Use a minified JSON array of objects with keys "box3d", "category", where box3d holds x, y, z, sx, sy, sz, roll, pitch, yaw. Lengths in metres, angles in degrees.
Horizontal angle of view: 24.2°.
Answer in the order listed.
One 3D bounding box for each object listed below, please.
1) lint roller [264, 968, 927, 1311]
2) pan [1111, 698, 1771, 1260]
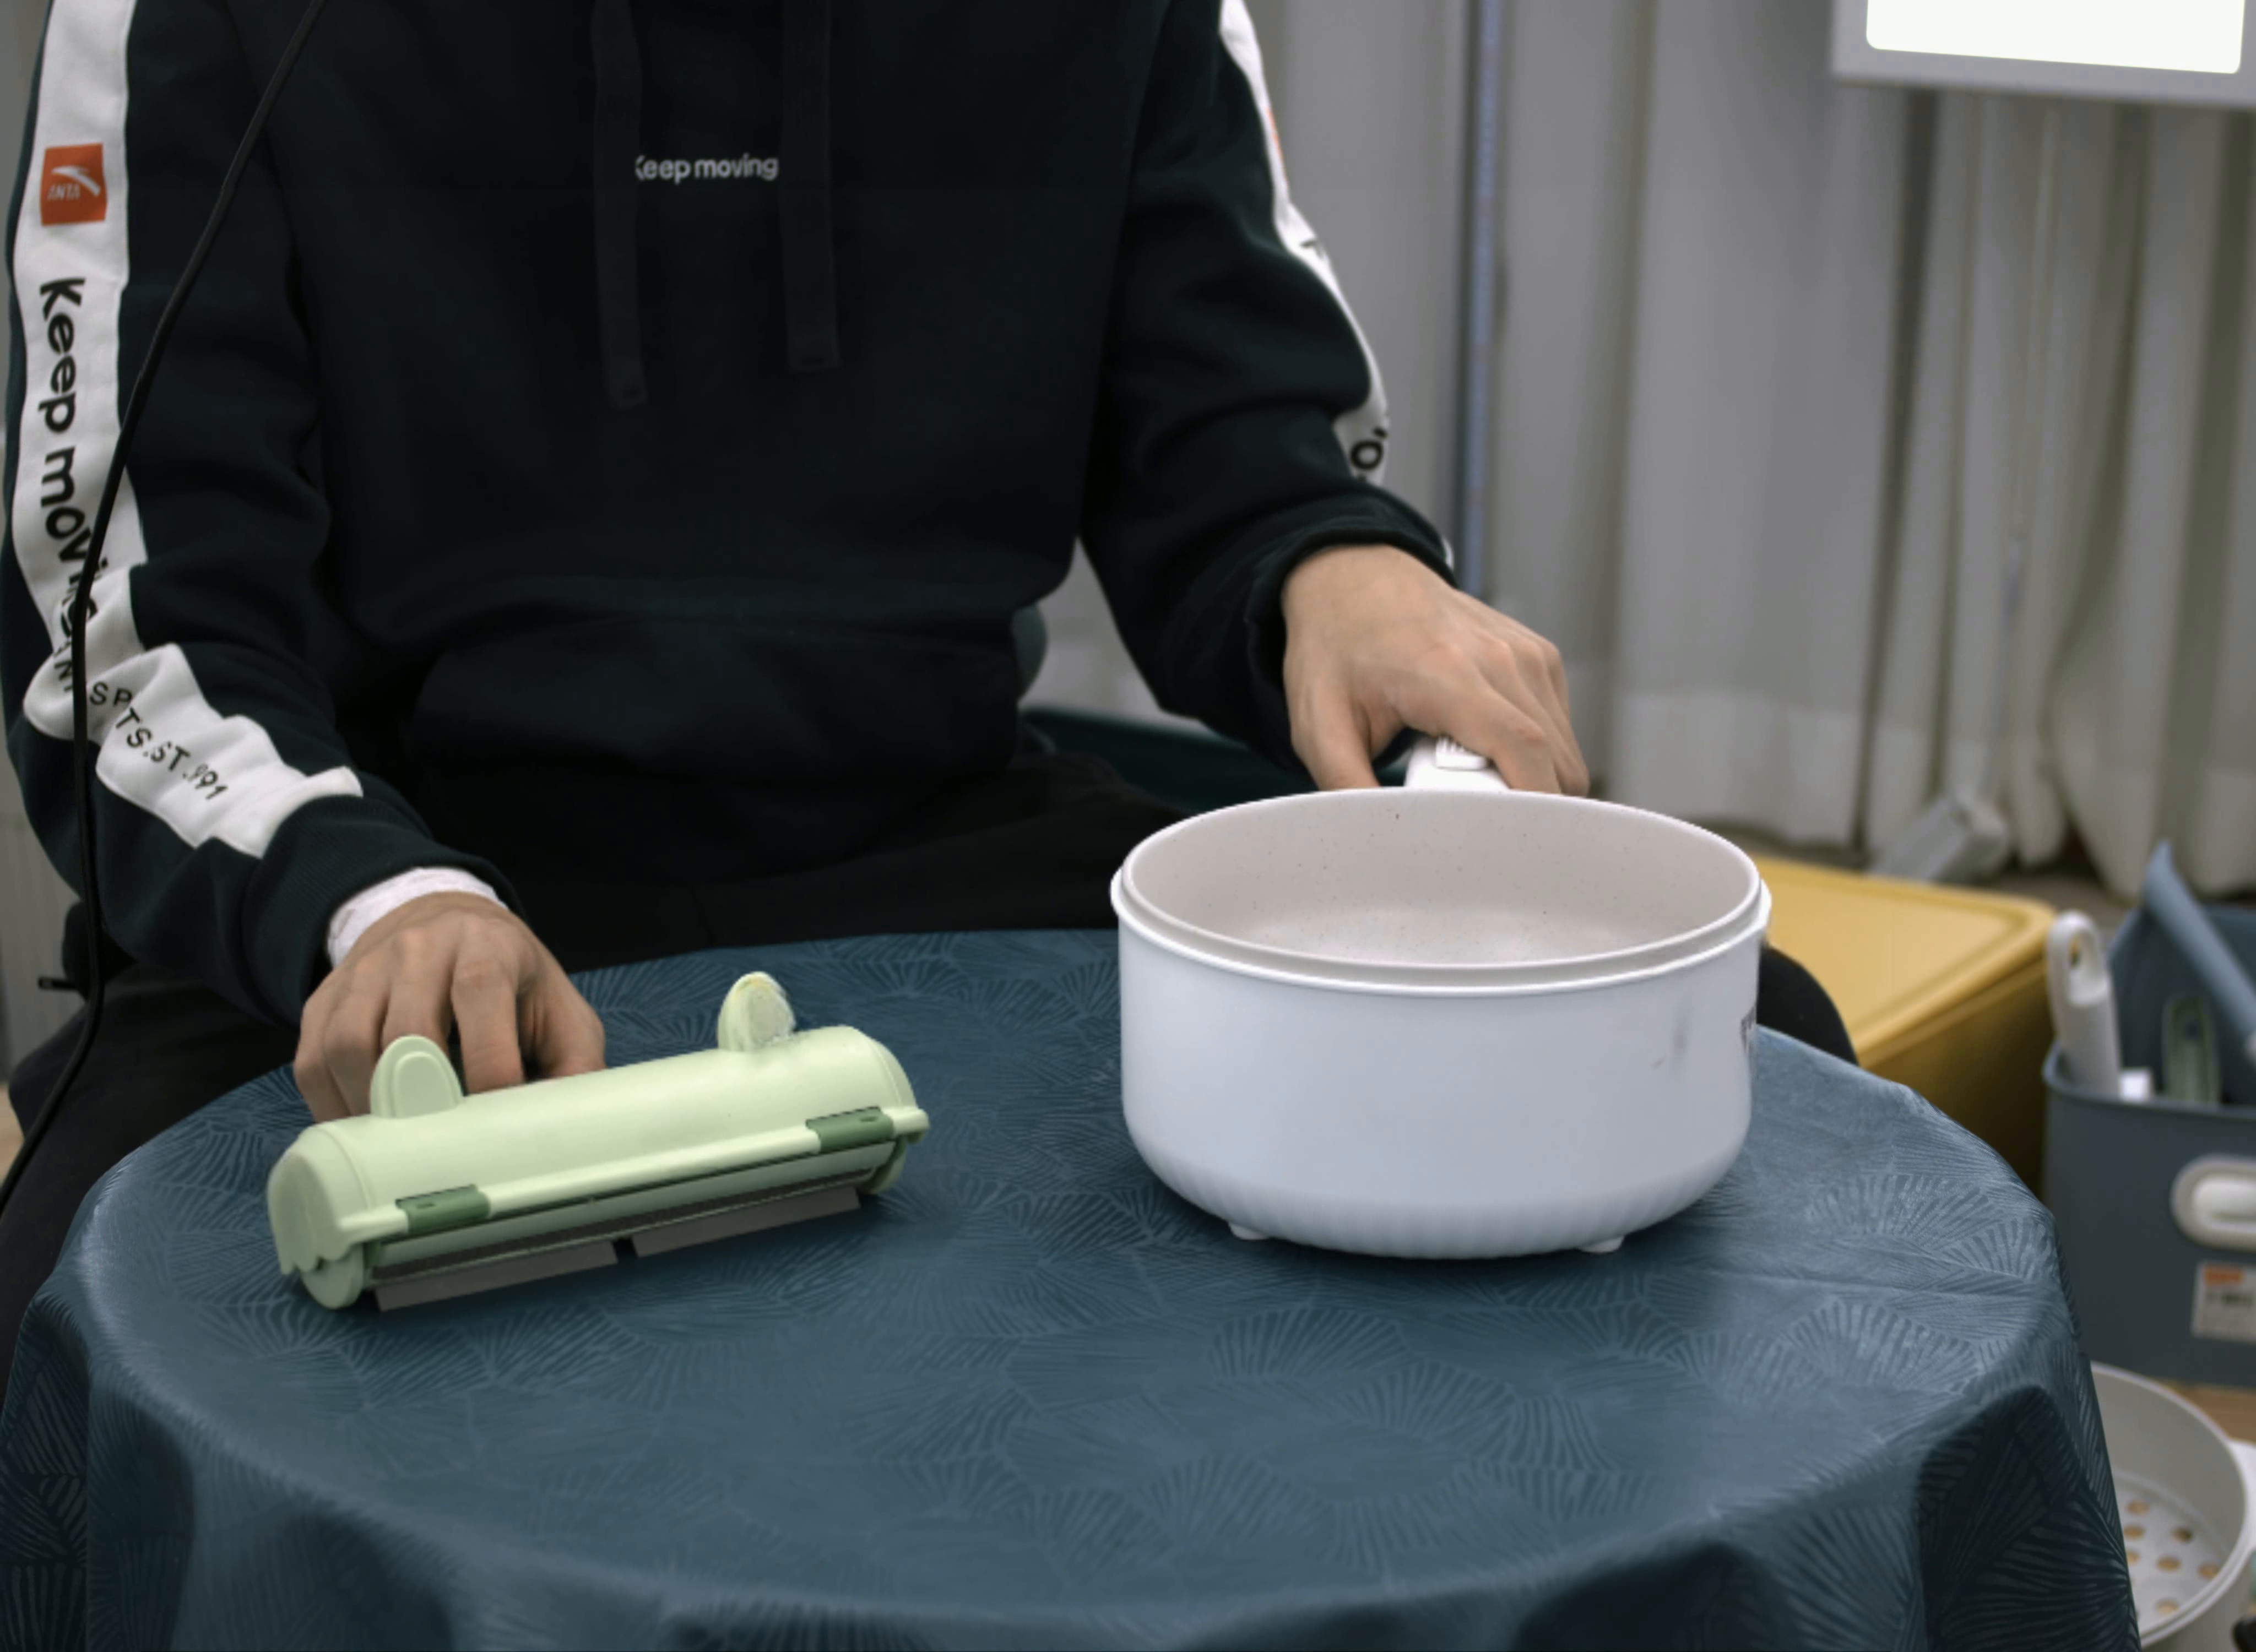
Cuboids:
[{"box3d":[-0.187,0.076,1.602,0.199,0.083,0.181,-10,24,-32],"category":"lint roller"},{"box3d":[0.104,0.044,1.688,0.200,0.103,0.353,1,14,6],"category":"pan"}]
